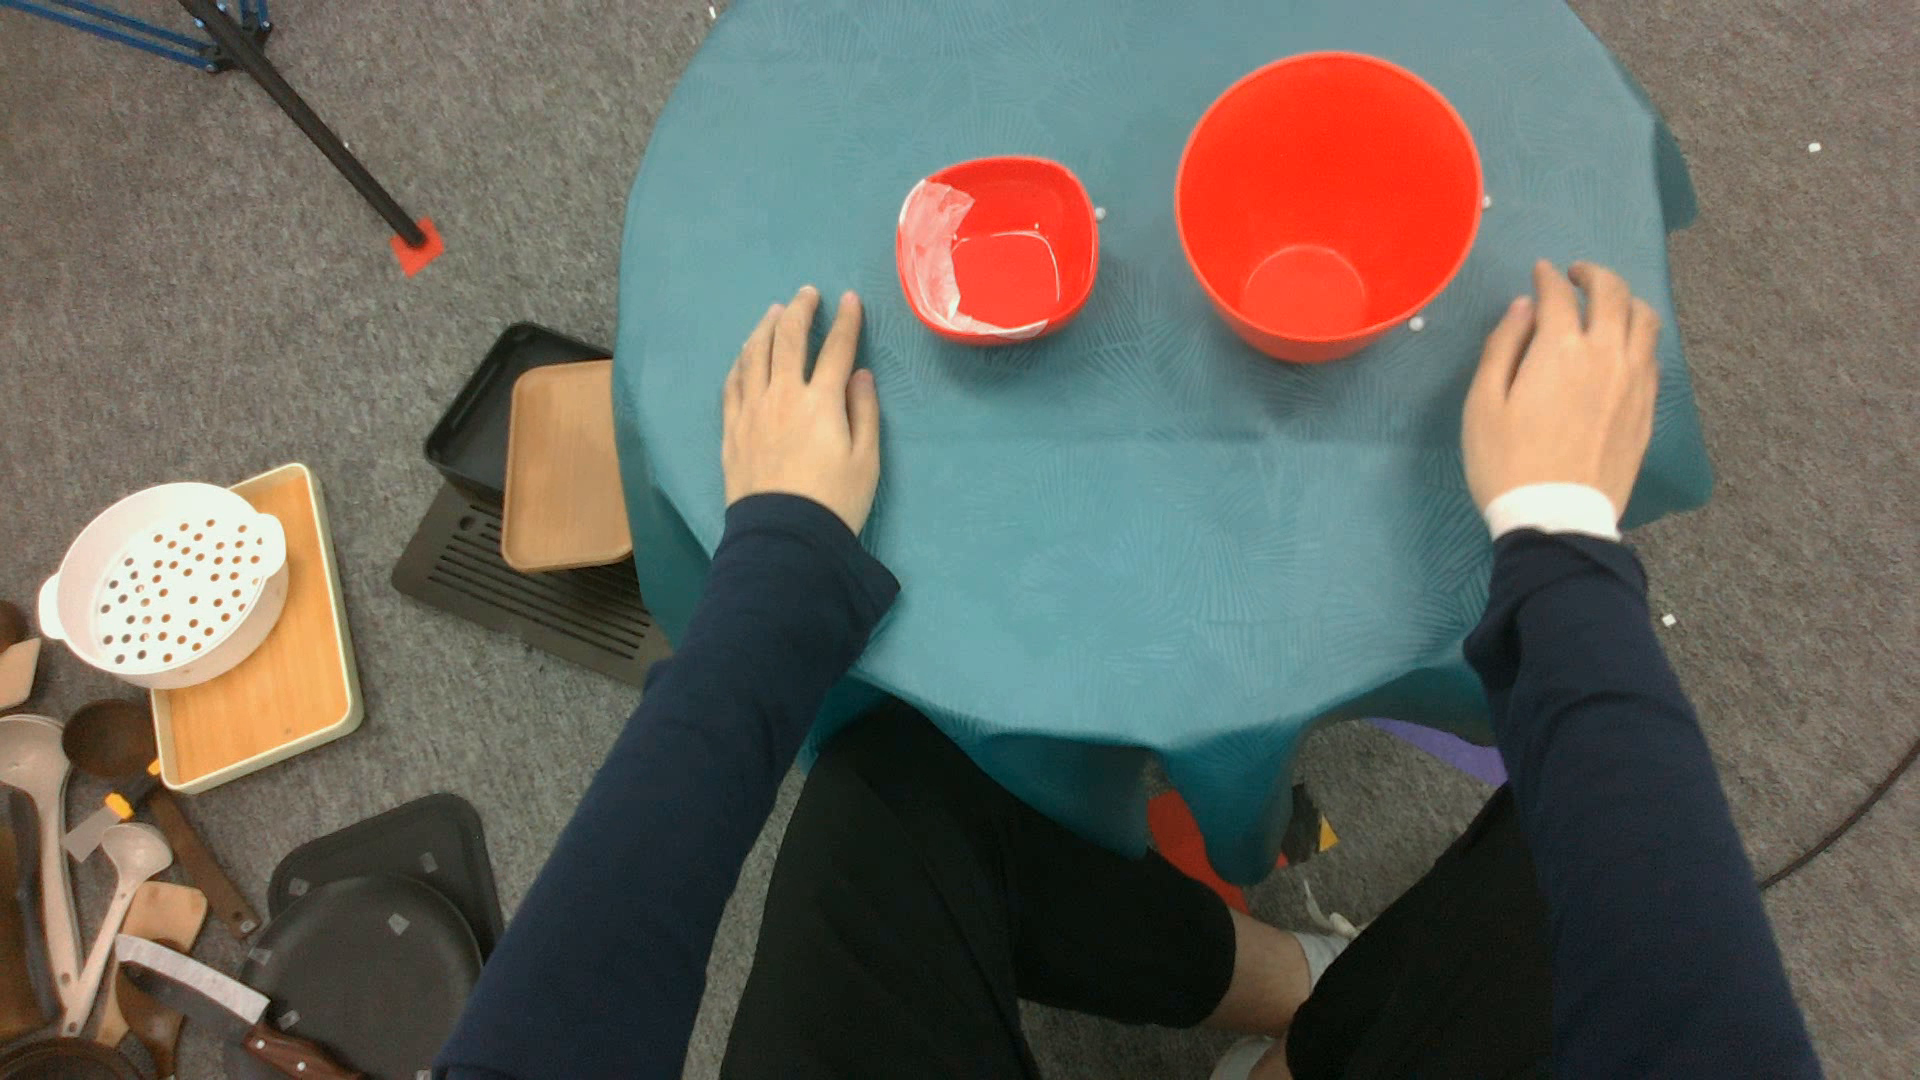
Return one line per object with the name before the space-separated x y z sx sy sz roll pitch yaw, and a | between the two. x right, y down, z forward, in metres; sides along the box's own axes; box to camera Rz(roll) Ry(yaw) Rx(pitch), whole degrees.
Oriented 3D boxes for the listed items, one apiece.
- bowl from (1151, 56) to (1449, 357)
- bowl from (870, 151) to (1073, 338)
bowl | 0.175 -0.163 0.732 0.148 0.104 0.148 -2 72 6
bowl | 0.007 -0.157 0.771 0.119 0.051 0.119 -1 71 4
